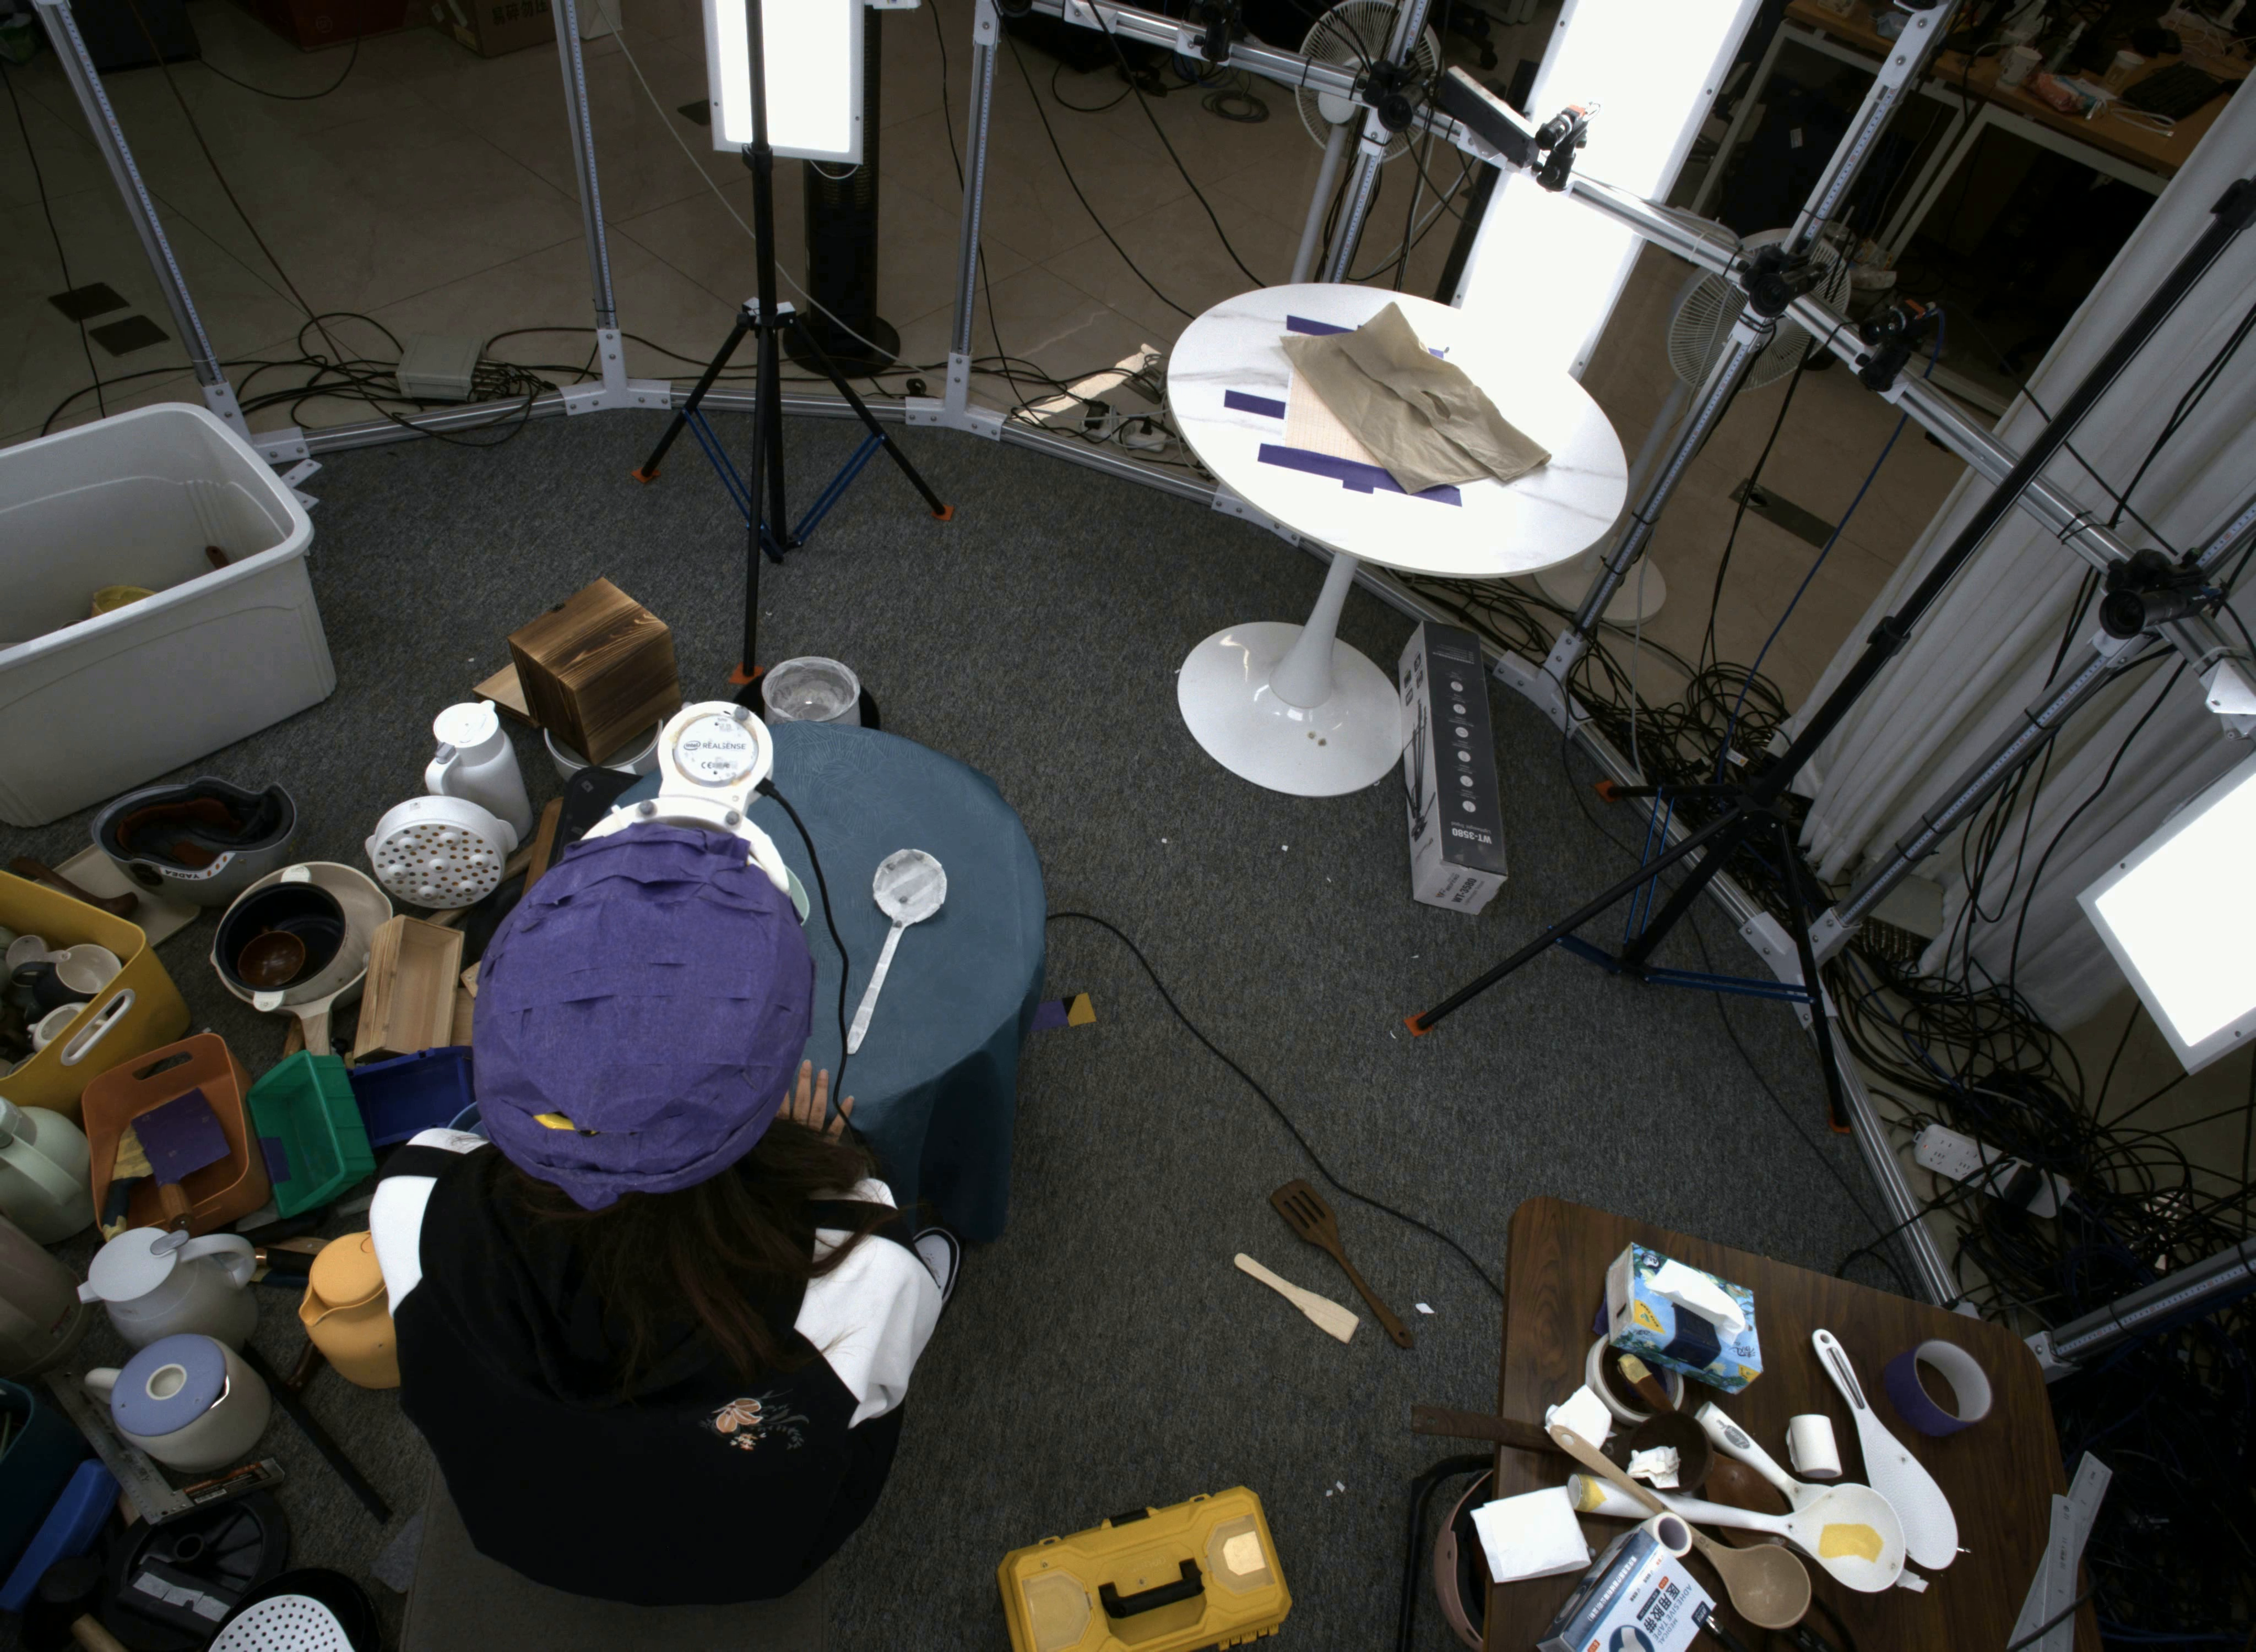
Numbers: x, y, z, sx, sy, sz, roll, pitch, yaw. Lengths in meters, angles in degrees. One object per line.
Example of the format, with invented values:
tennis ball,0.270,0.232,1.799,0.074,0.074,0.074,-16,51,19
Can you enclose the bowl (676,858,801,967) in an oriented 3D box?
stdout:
bowl,-0.476,0.114,1.586,0.151,0.060,0.149,8,52,-8

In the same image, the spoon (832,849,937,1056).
spoon,-0.316,0.148,1.599,0.099,0.061,0.274,15,51,4
